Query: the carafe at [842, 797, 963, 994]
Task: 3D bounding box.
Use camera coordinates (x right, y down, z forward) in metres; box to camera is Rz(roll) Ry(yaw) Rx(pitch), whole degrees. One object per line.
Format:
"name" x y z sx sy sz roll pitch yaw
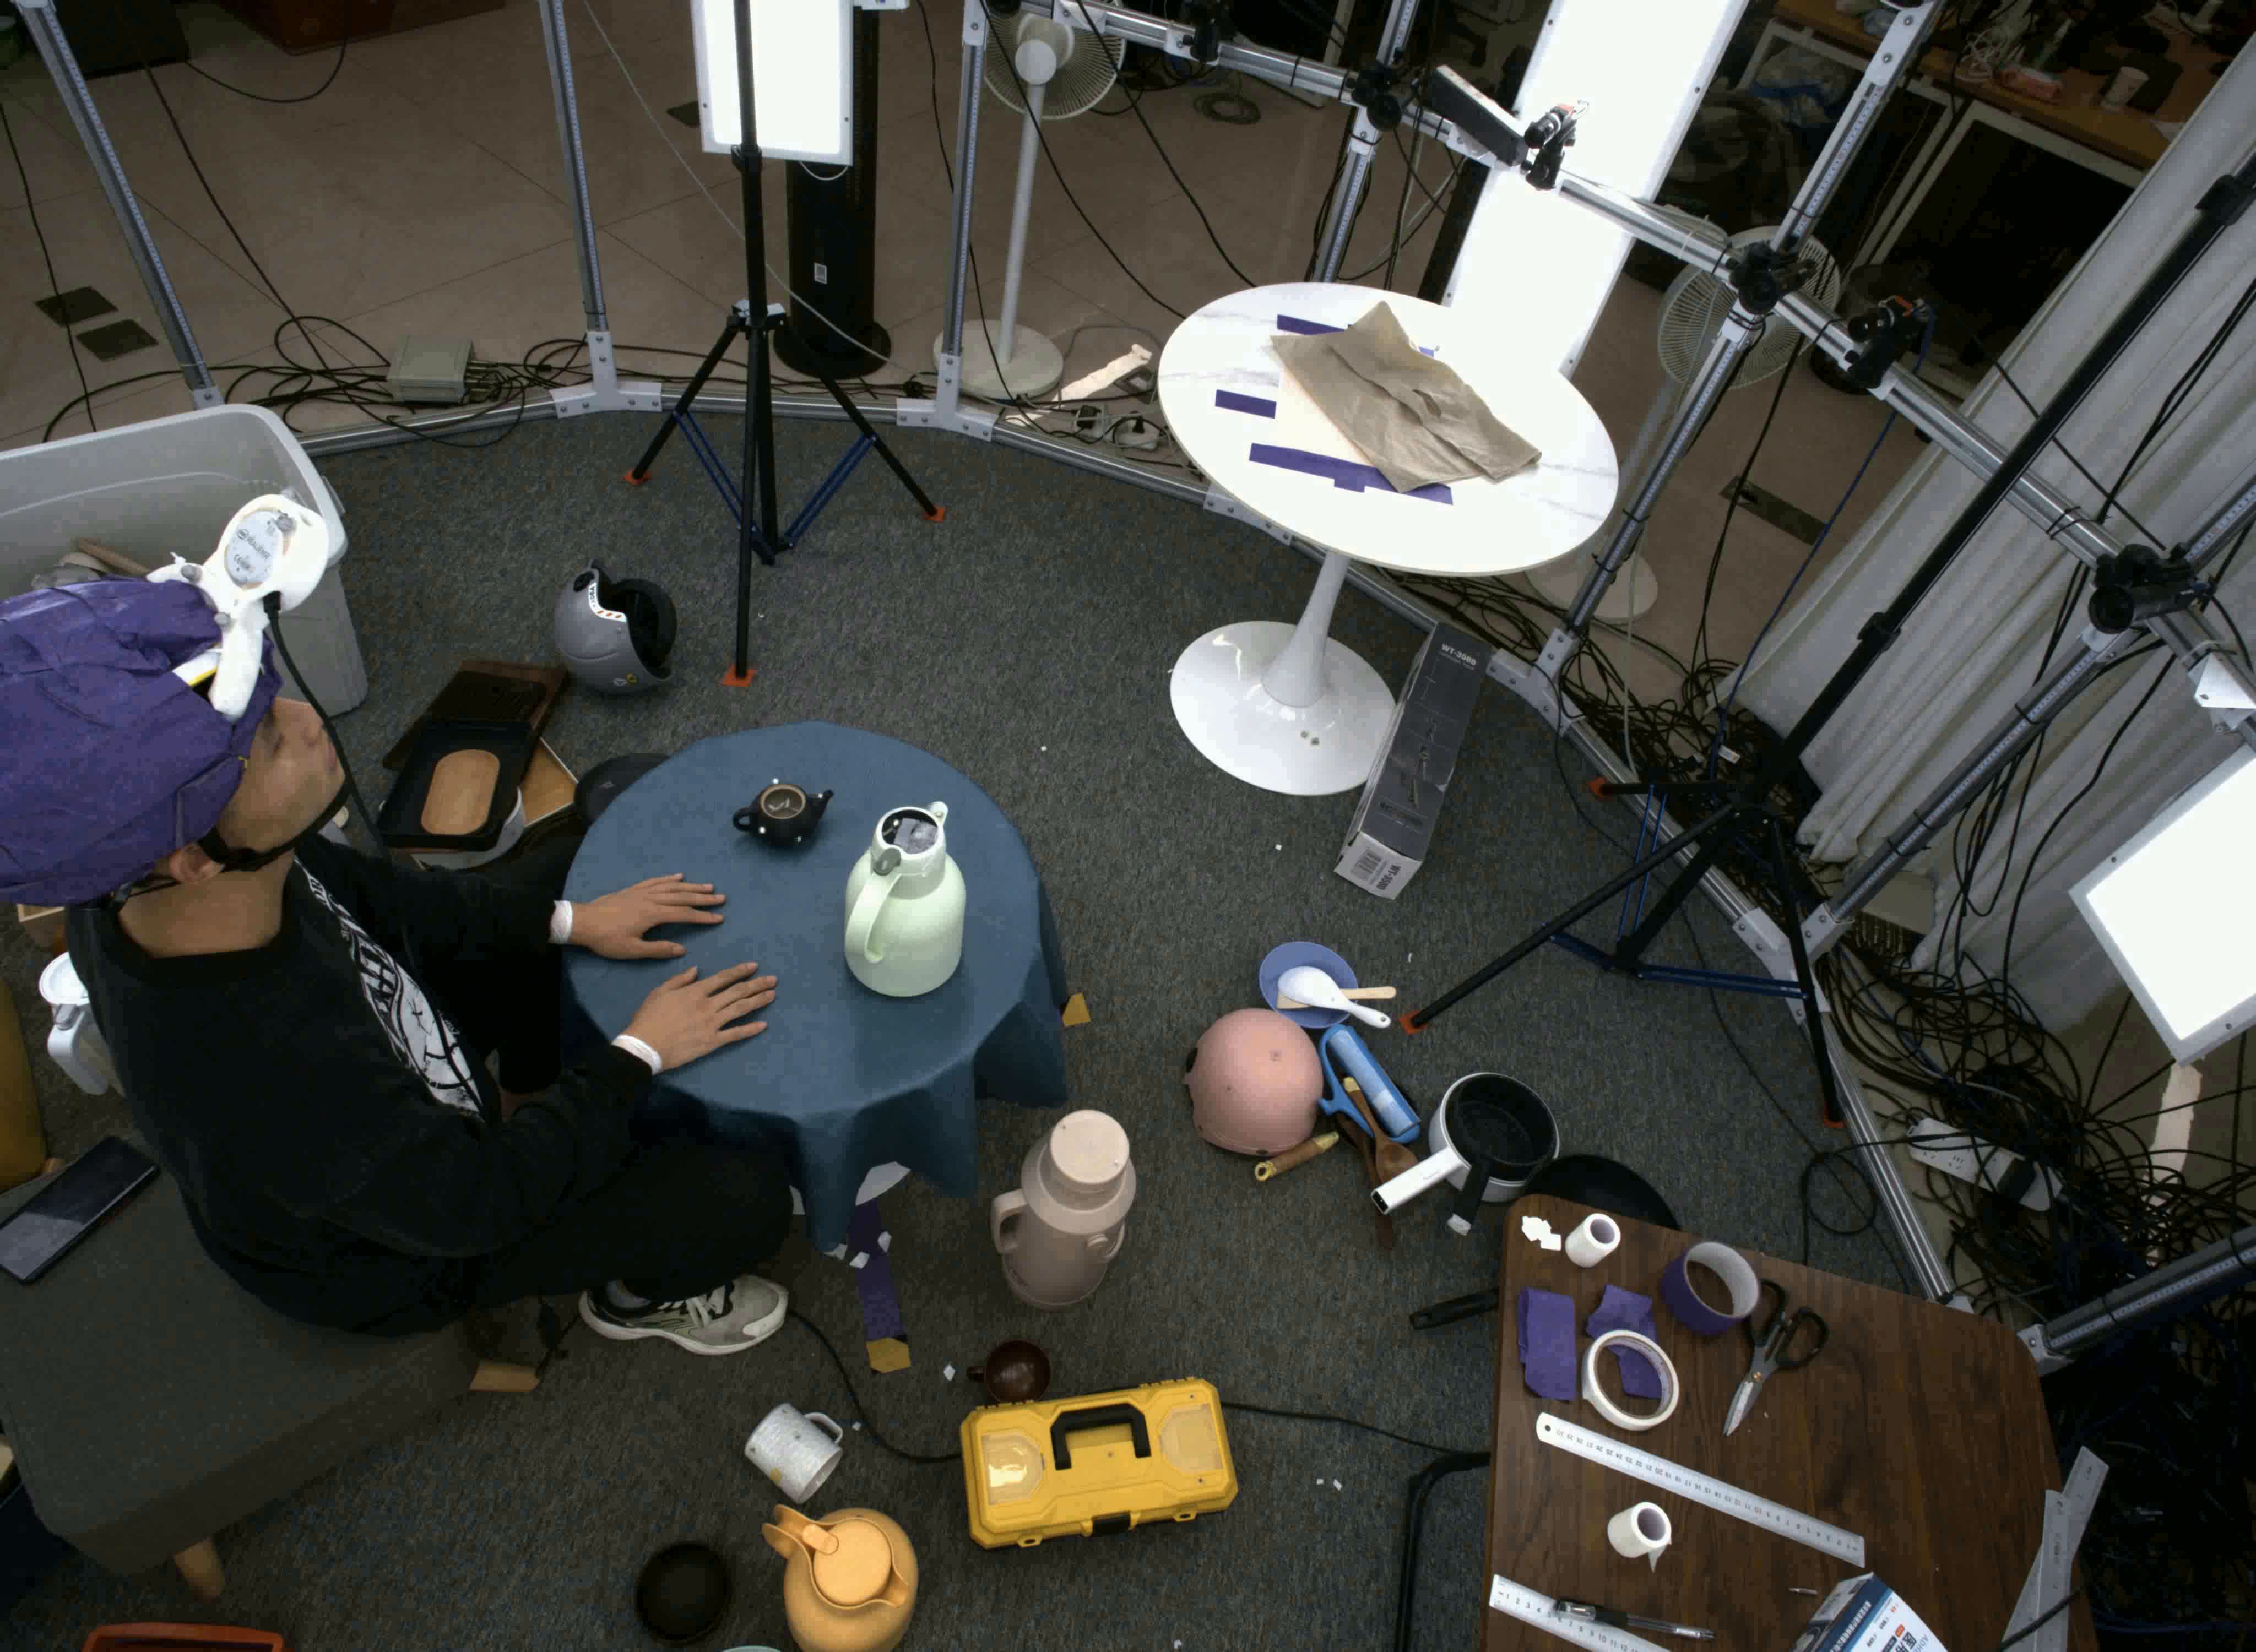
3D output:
"carafe" -0.272 0.088 1.534 0.142 0.261 0.186 26 55 6

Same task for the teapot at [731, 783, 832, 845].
"teapot" -0.452 -0.018 1.693 0.134 0.054 0.088 -14 56 -23
